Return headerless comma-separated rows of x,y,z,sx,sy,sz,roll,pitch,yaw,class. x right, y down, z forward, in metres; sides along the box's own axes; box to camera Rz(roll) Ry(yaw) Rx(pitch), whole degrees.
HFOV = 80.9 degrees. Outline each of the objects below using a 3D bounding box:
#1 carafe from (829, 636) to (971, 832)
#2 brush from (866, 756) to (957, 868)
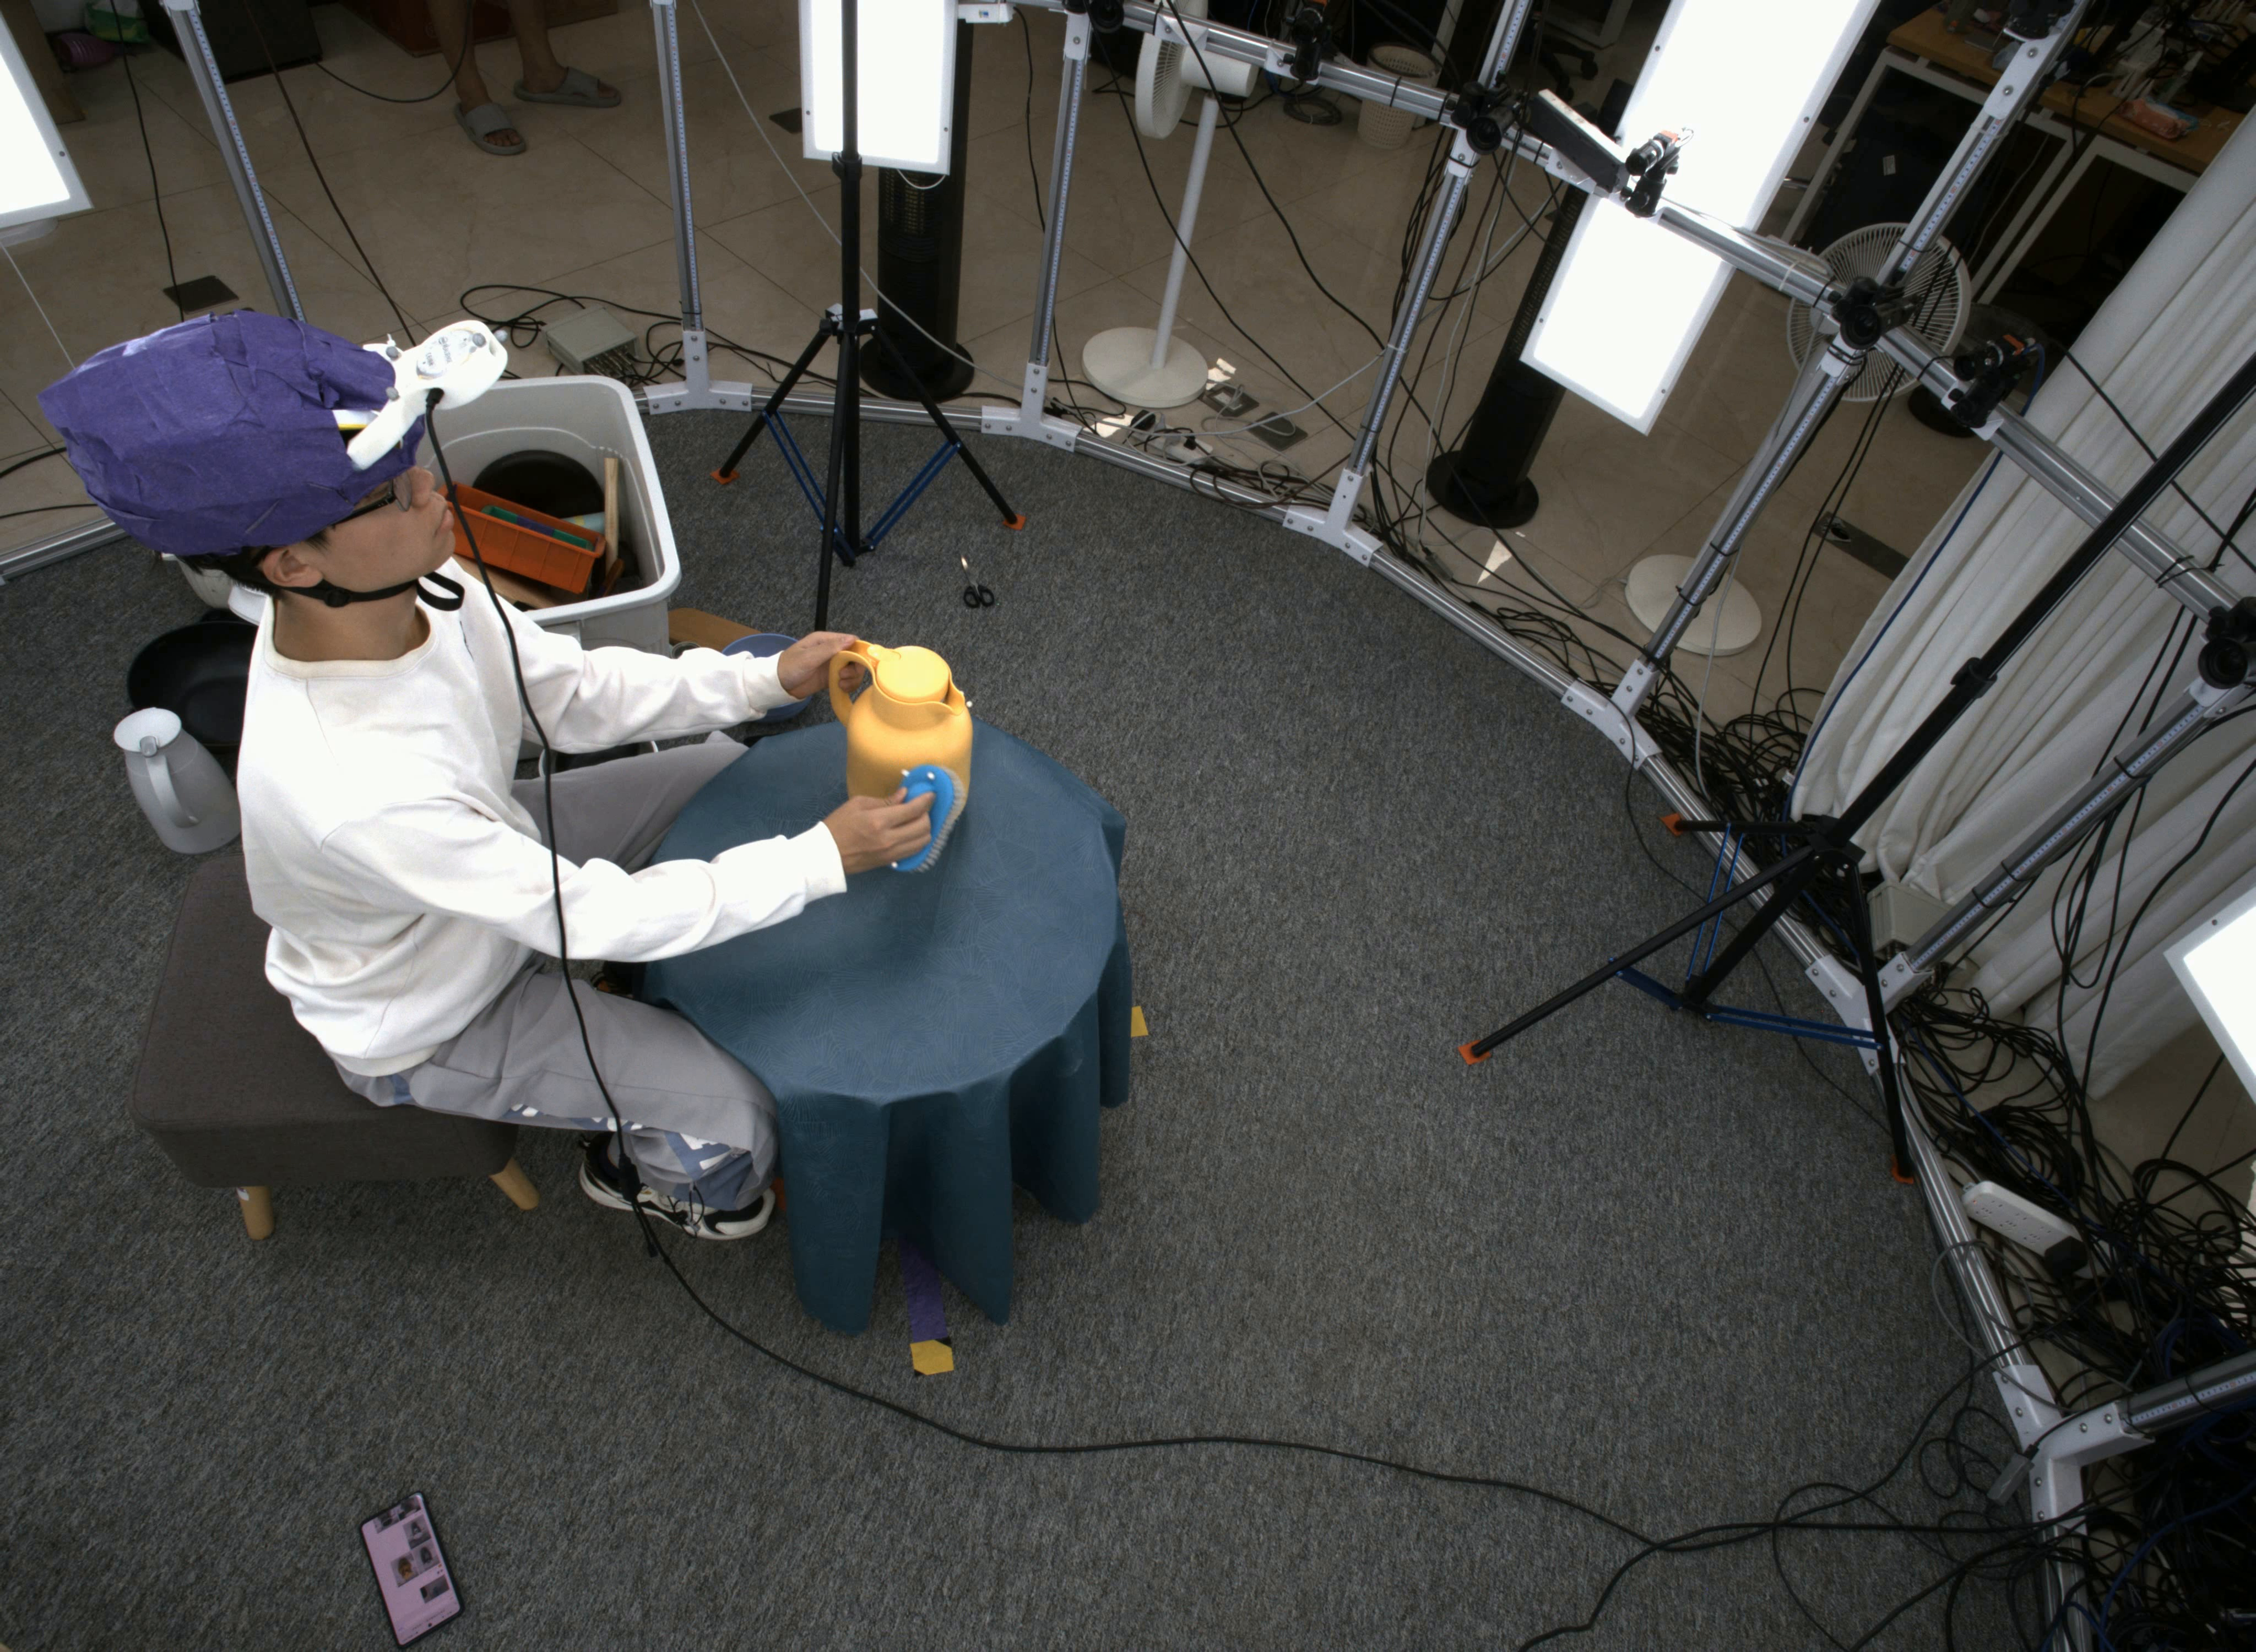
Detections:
-0.301,-0.126,1.690,0.199,0.266,0.163,31,51,12,carafe
-0.269,-0.015,1.586,0.083,0.143,0.064,29,9,7,brush
